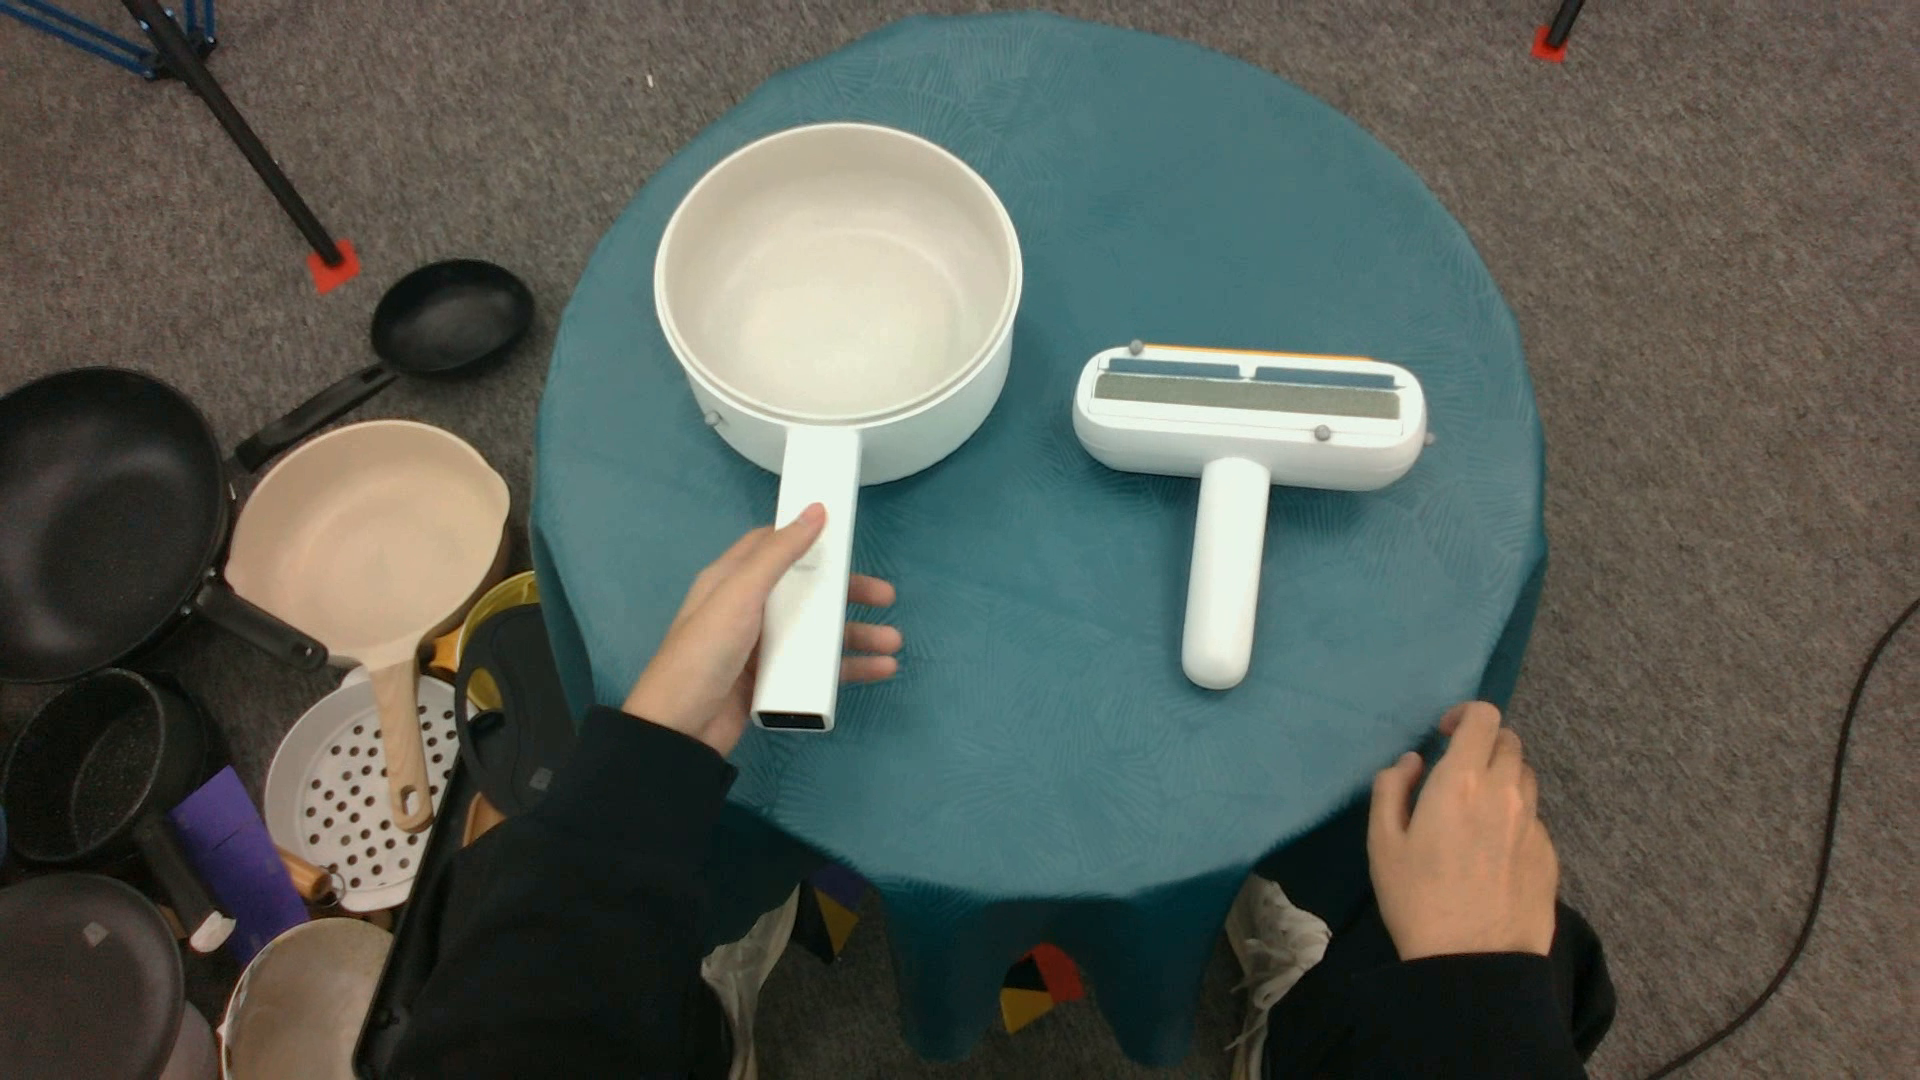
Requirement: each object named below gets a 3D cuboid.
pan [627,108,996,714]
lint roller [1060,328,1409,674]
[{"bbox_3d":[-0.084,-0.069,0.761,0.201,0.101,0.356,3,65,0],"label":"pan"},{"bbox_3d":[0.139,-0.022,0.762,0.193,0.074,0.193,11,67,10],"label":"lint roller"}]
